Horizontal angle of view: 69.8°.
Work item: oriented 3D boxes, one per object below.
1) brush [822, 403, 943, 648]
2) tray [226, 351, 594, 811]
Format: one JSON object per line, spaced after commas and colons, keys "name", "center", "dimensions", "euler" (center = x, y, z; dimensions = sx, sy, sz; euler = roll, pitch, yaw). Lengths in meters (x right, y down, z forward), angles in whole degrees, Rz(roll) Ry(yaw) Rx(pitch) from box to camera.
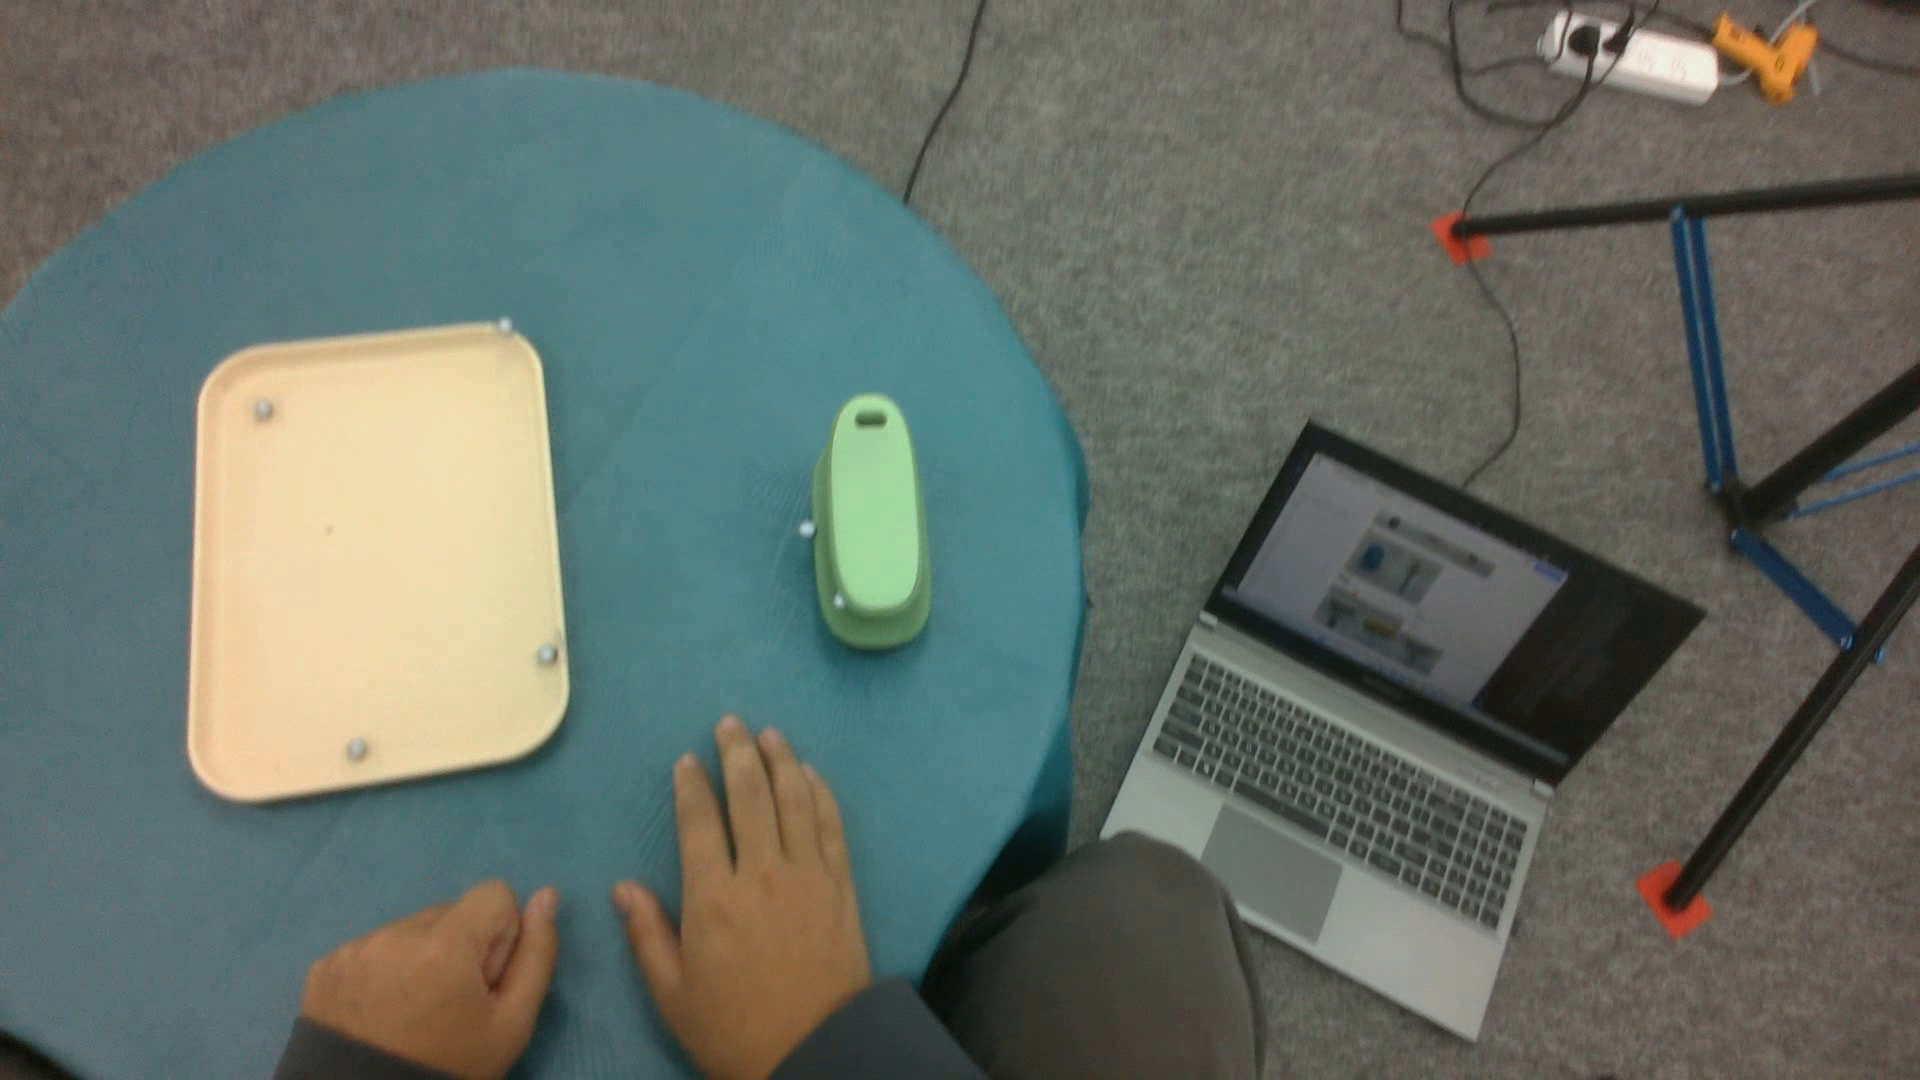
{"name": "brush", "center": [-0.041, -0.004, 0.722], "dimensions": [0.059, 0.075, 0.123], "euler": [-6, 79, -7]}
{"name": "tray", "center": [-0.284, 0.014, 0.709], "dimensions": [0.171, 0.017, 0.240], "euler": [-10, 66, -10]}
